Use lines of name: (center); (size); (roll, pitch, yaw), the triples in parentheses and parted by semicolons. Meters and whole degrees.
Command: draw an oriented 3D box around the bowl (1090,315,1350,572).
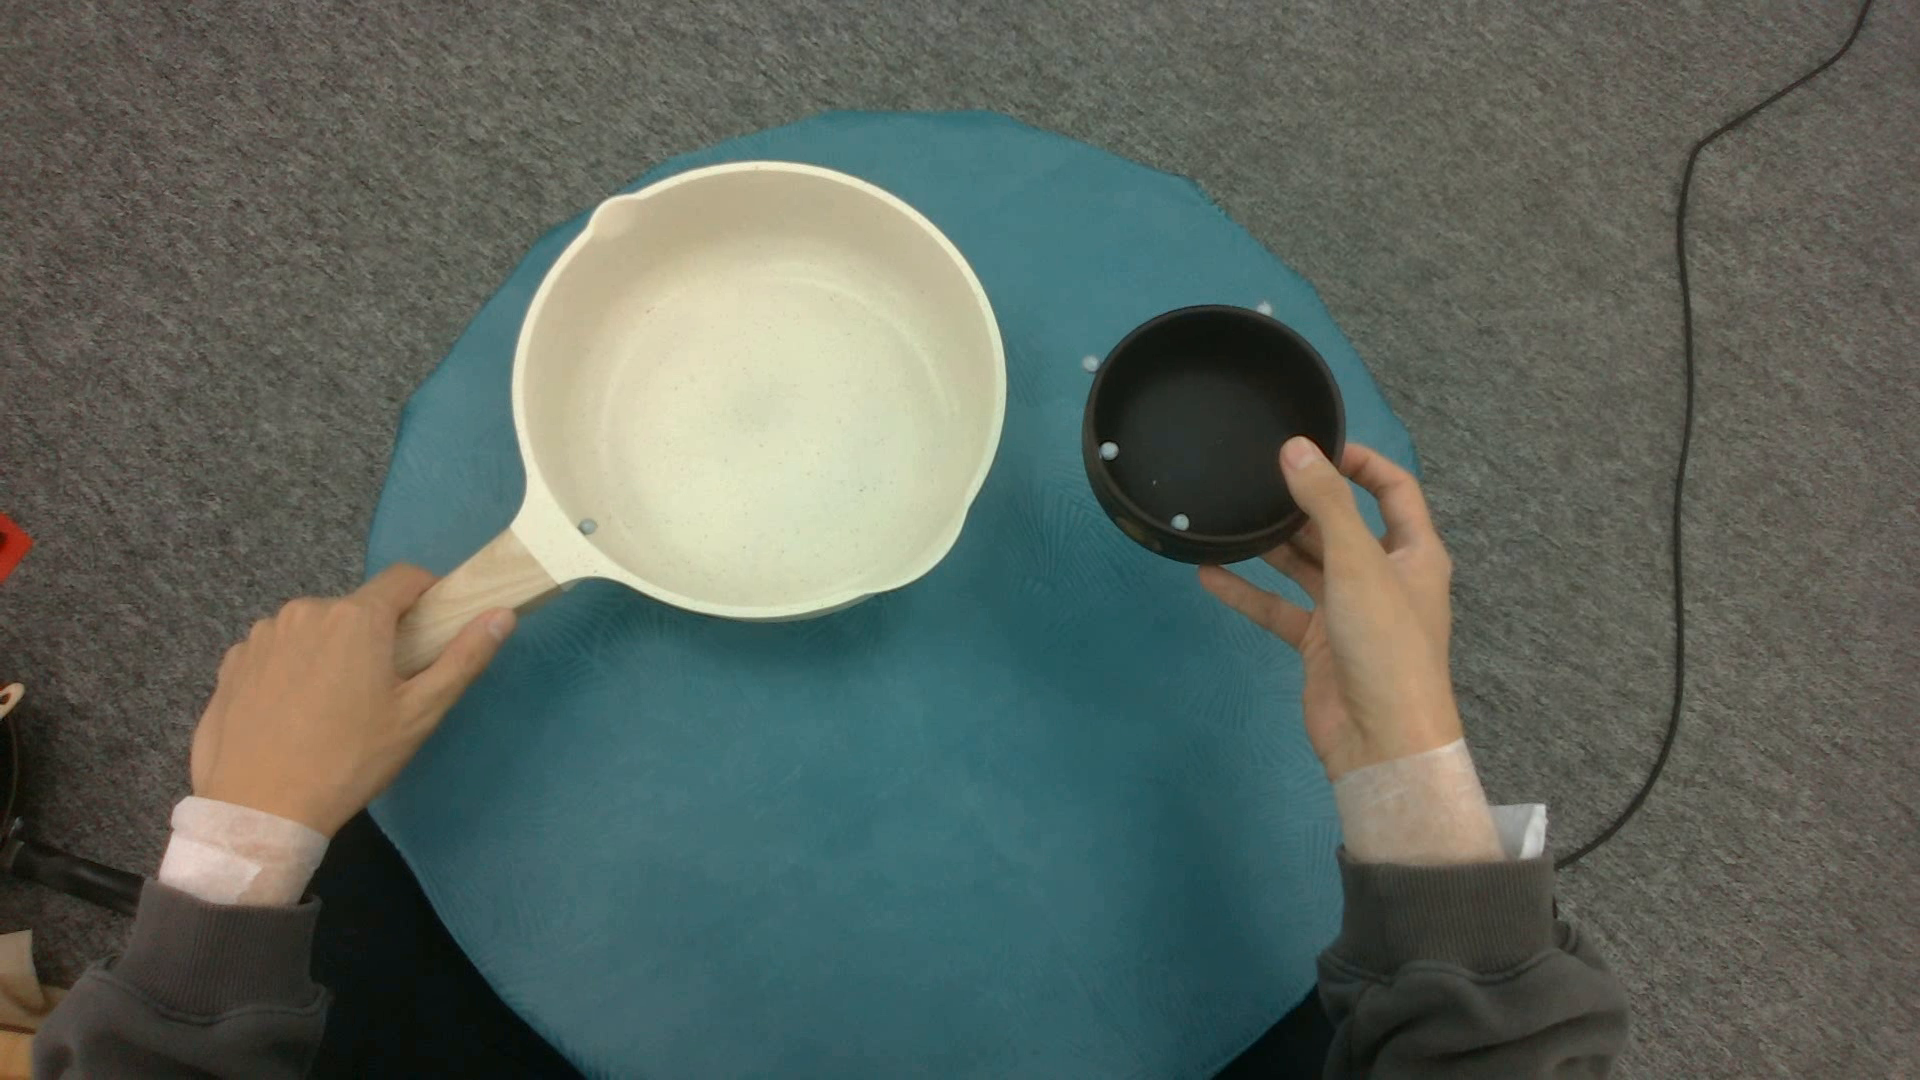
bowl: (0.120, -0.040, 0.654); (0.118, 0.069, 0.118); (0, 73, 1)

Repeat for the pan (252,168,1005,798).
pan: (-0.171, -0.015, 0.734); (0.436, 0.102, 0.263); (-41, 81, -12)
